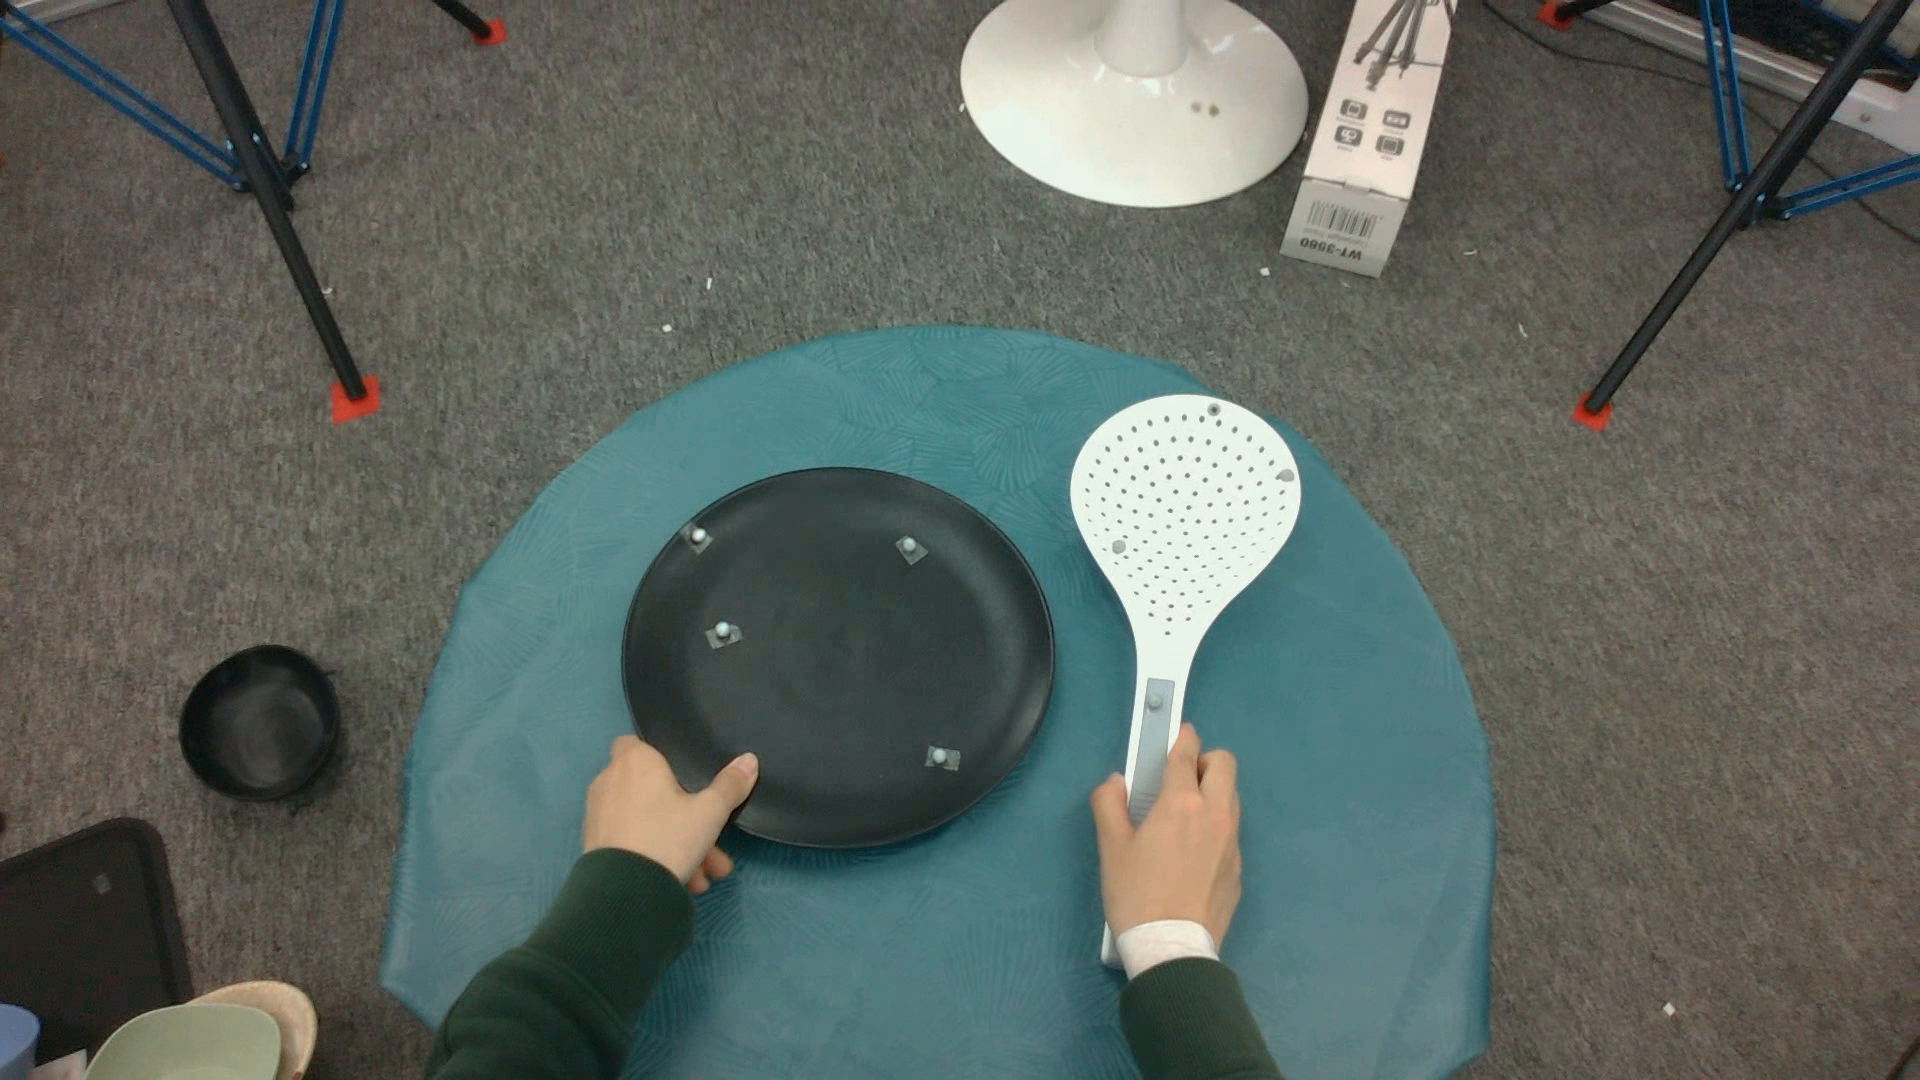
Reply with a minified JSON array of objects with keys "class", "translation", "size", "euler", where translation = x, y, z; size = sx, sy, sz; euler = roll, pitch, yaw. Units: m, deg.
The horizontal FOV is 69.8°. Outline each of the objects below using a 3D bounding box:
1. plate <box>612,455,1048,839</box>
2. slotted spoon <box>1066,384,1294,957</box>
[{"class":"plate","translation":[-0.071,0.055,0.781],"size":[0.244,0.023,0.245],"euler":[3,56,-5]},{"class":"slotted spoon","translation":[0.112,0.059,0.782],"size":[0.136,0.045,0.351],"euler":[6,57,11]}]
